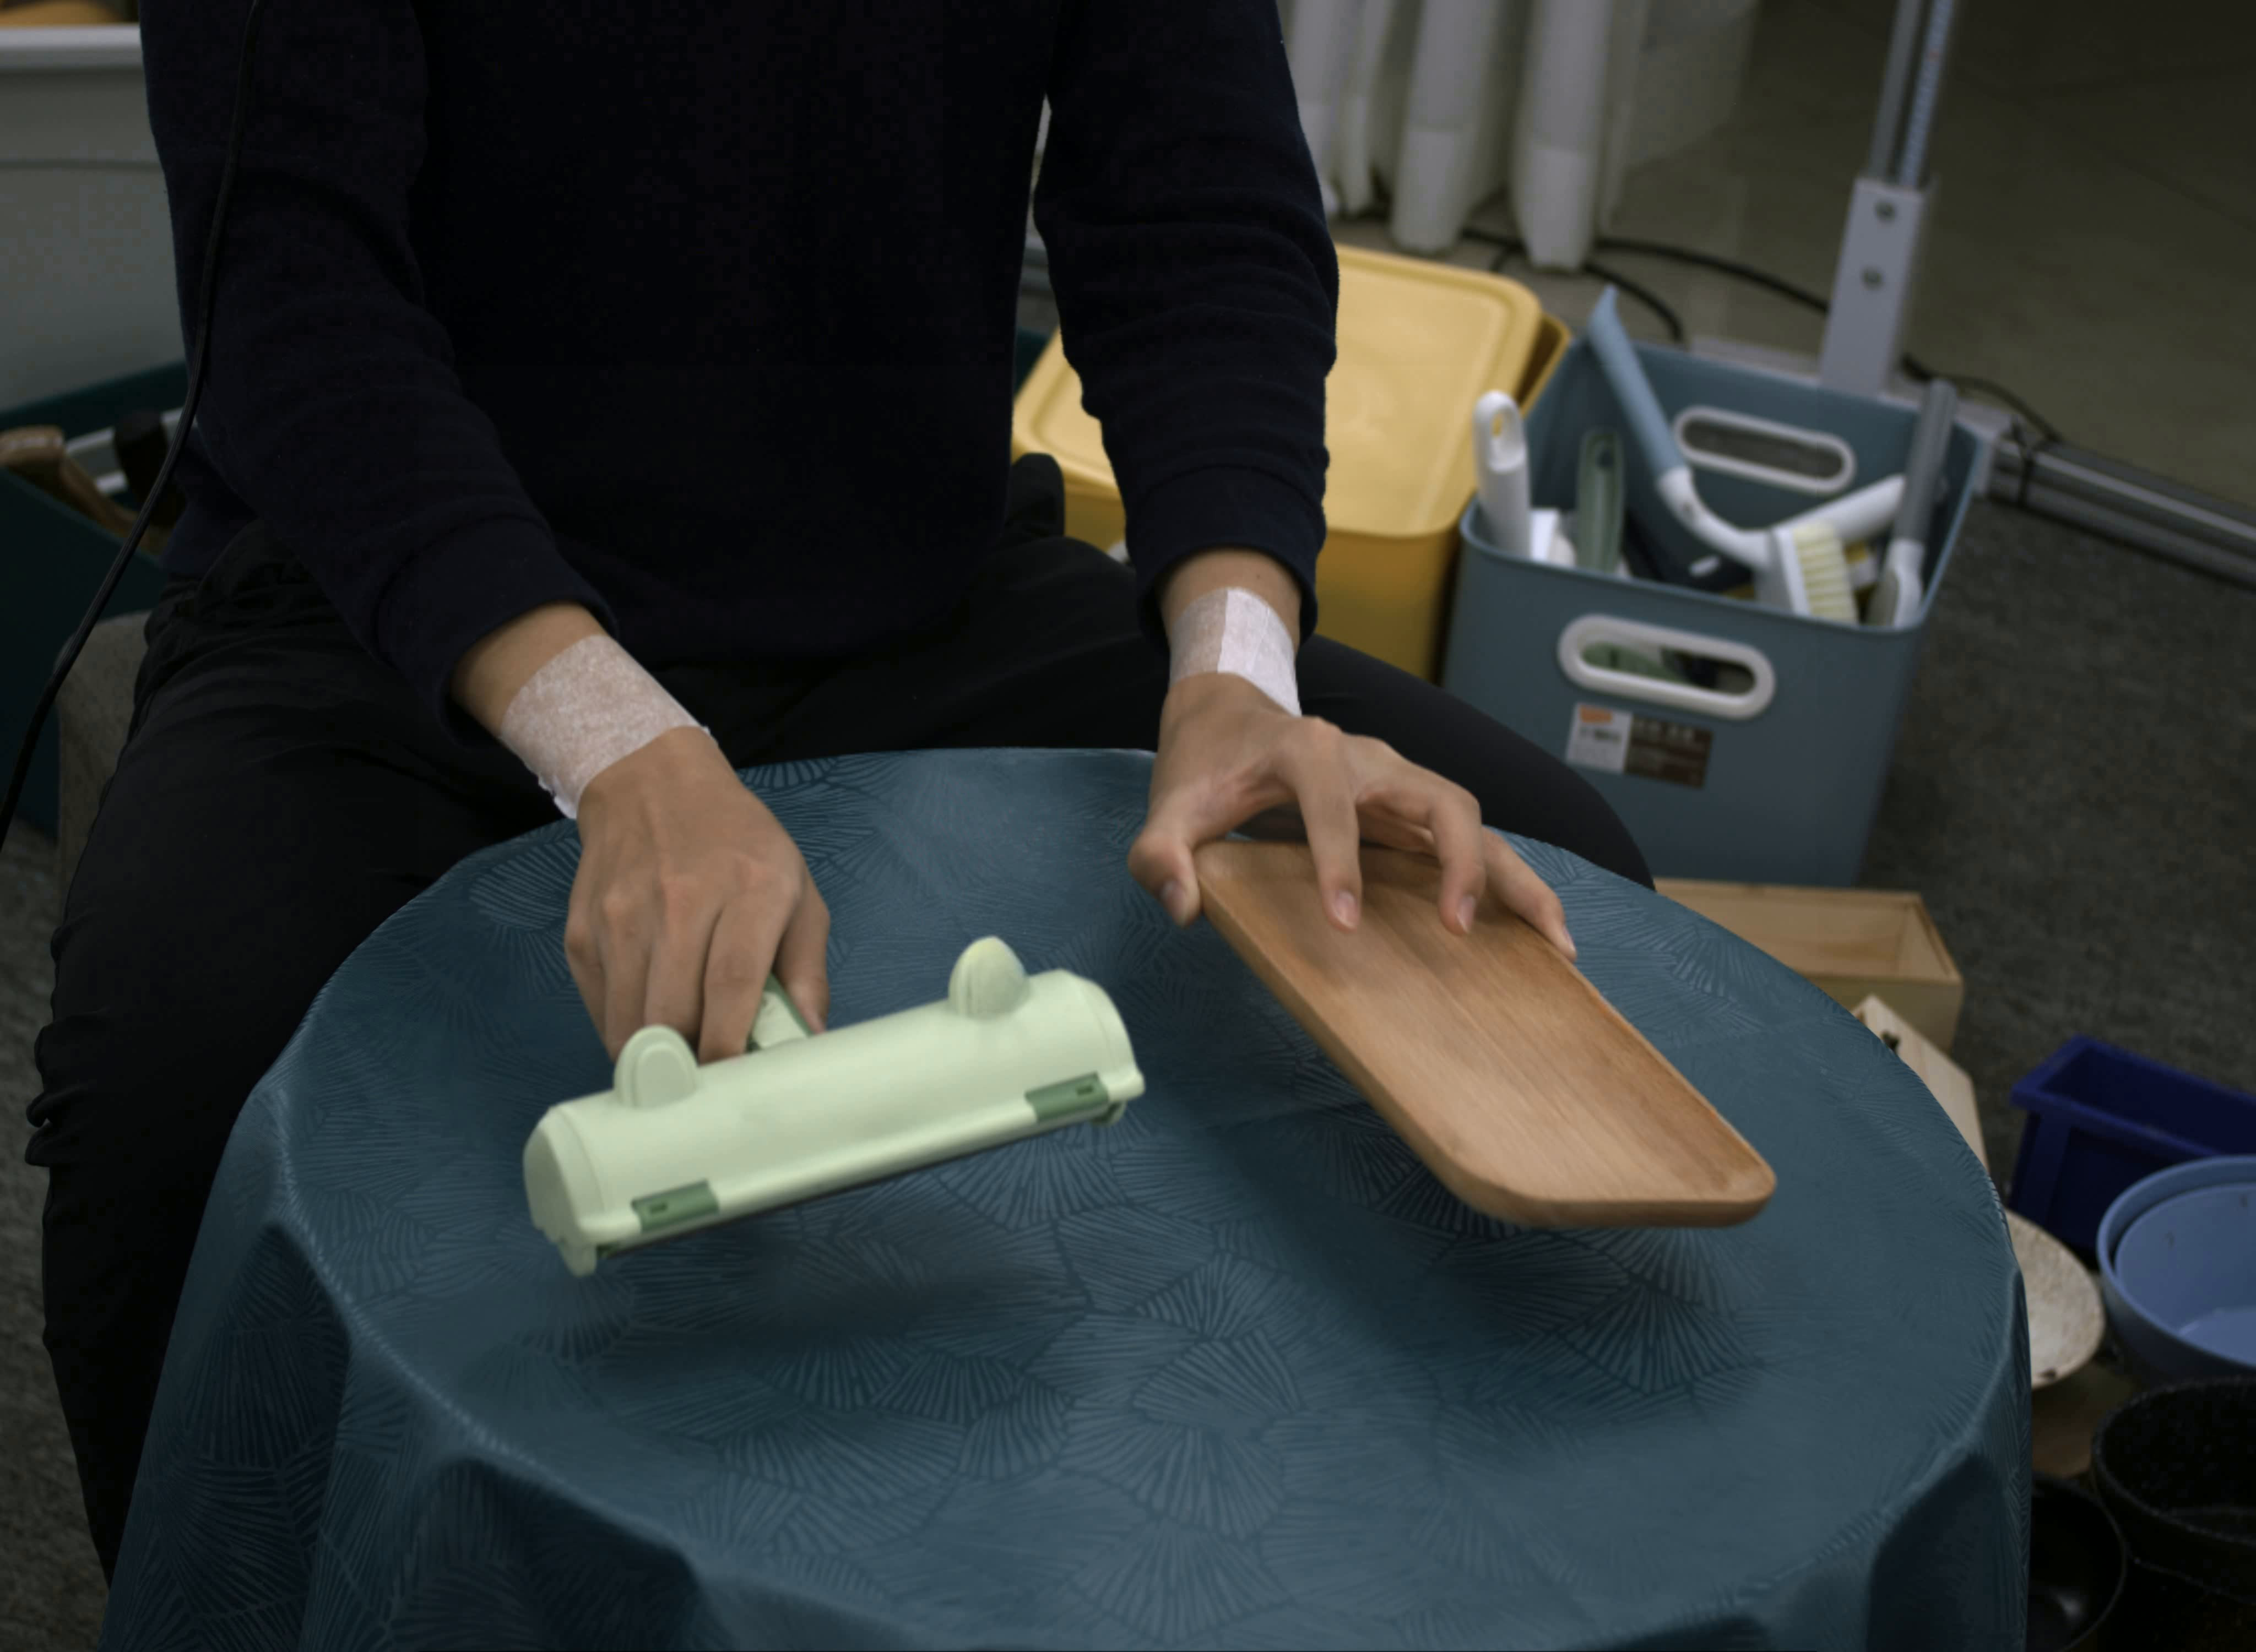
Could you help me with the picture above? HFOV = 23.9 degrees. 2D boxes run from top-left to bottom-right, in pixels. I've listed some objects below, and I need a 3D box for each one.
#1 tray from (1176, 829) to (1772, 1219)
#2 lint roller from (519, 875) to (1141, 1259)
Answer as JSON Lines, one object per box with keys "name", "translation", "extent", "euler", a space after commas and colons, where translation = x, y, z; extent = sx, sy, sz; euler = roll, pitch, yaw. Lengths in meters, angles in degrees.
{"name": "tray", "translation": [0.114, 0.066, 1.820], "extent": [0.129, 0.023, 0.253], "euler": [6, 23, -29]}
{"name": "lint roller", "translation": [-0.119, 0.051, 1.724], "extent": [0.197, 0.082, 0.185], "euler": [-14, 43, -24]}
